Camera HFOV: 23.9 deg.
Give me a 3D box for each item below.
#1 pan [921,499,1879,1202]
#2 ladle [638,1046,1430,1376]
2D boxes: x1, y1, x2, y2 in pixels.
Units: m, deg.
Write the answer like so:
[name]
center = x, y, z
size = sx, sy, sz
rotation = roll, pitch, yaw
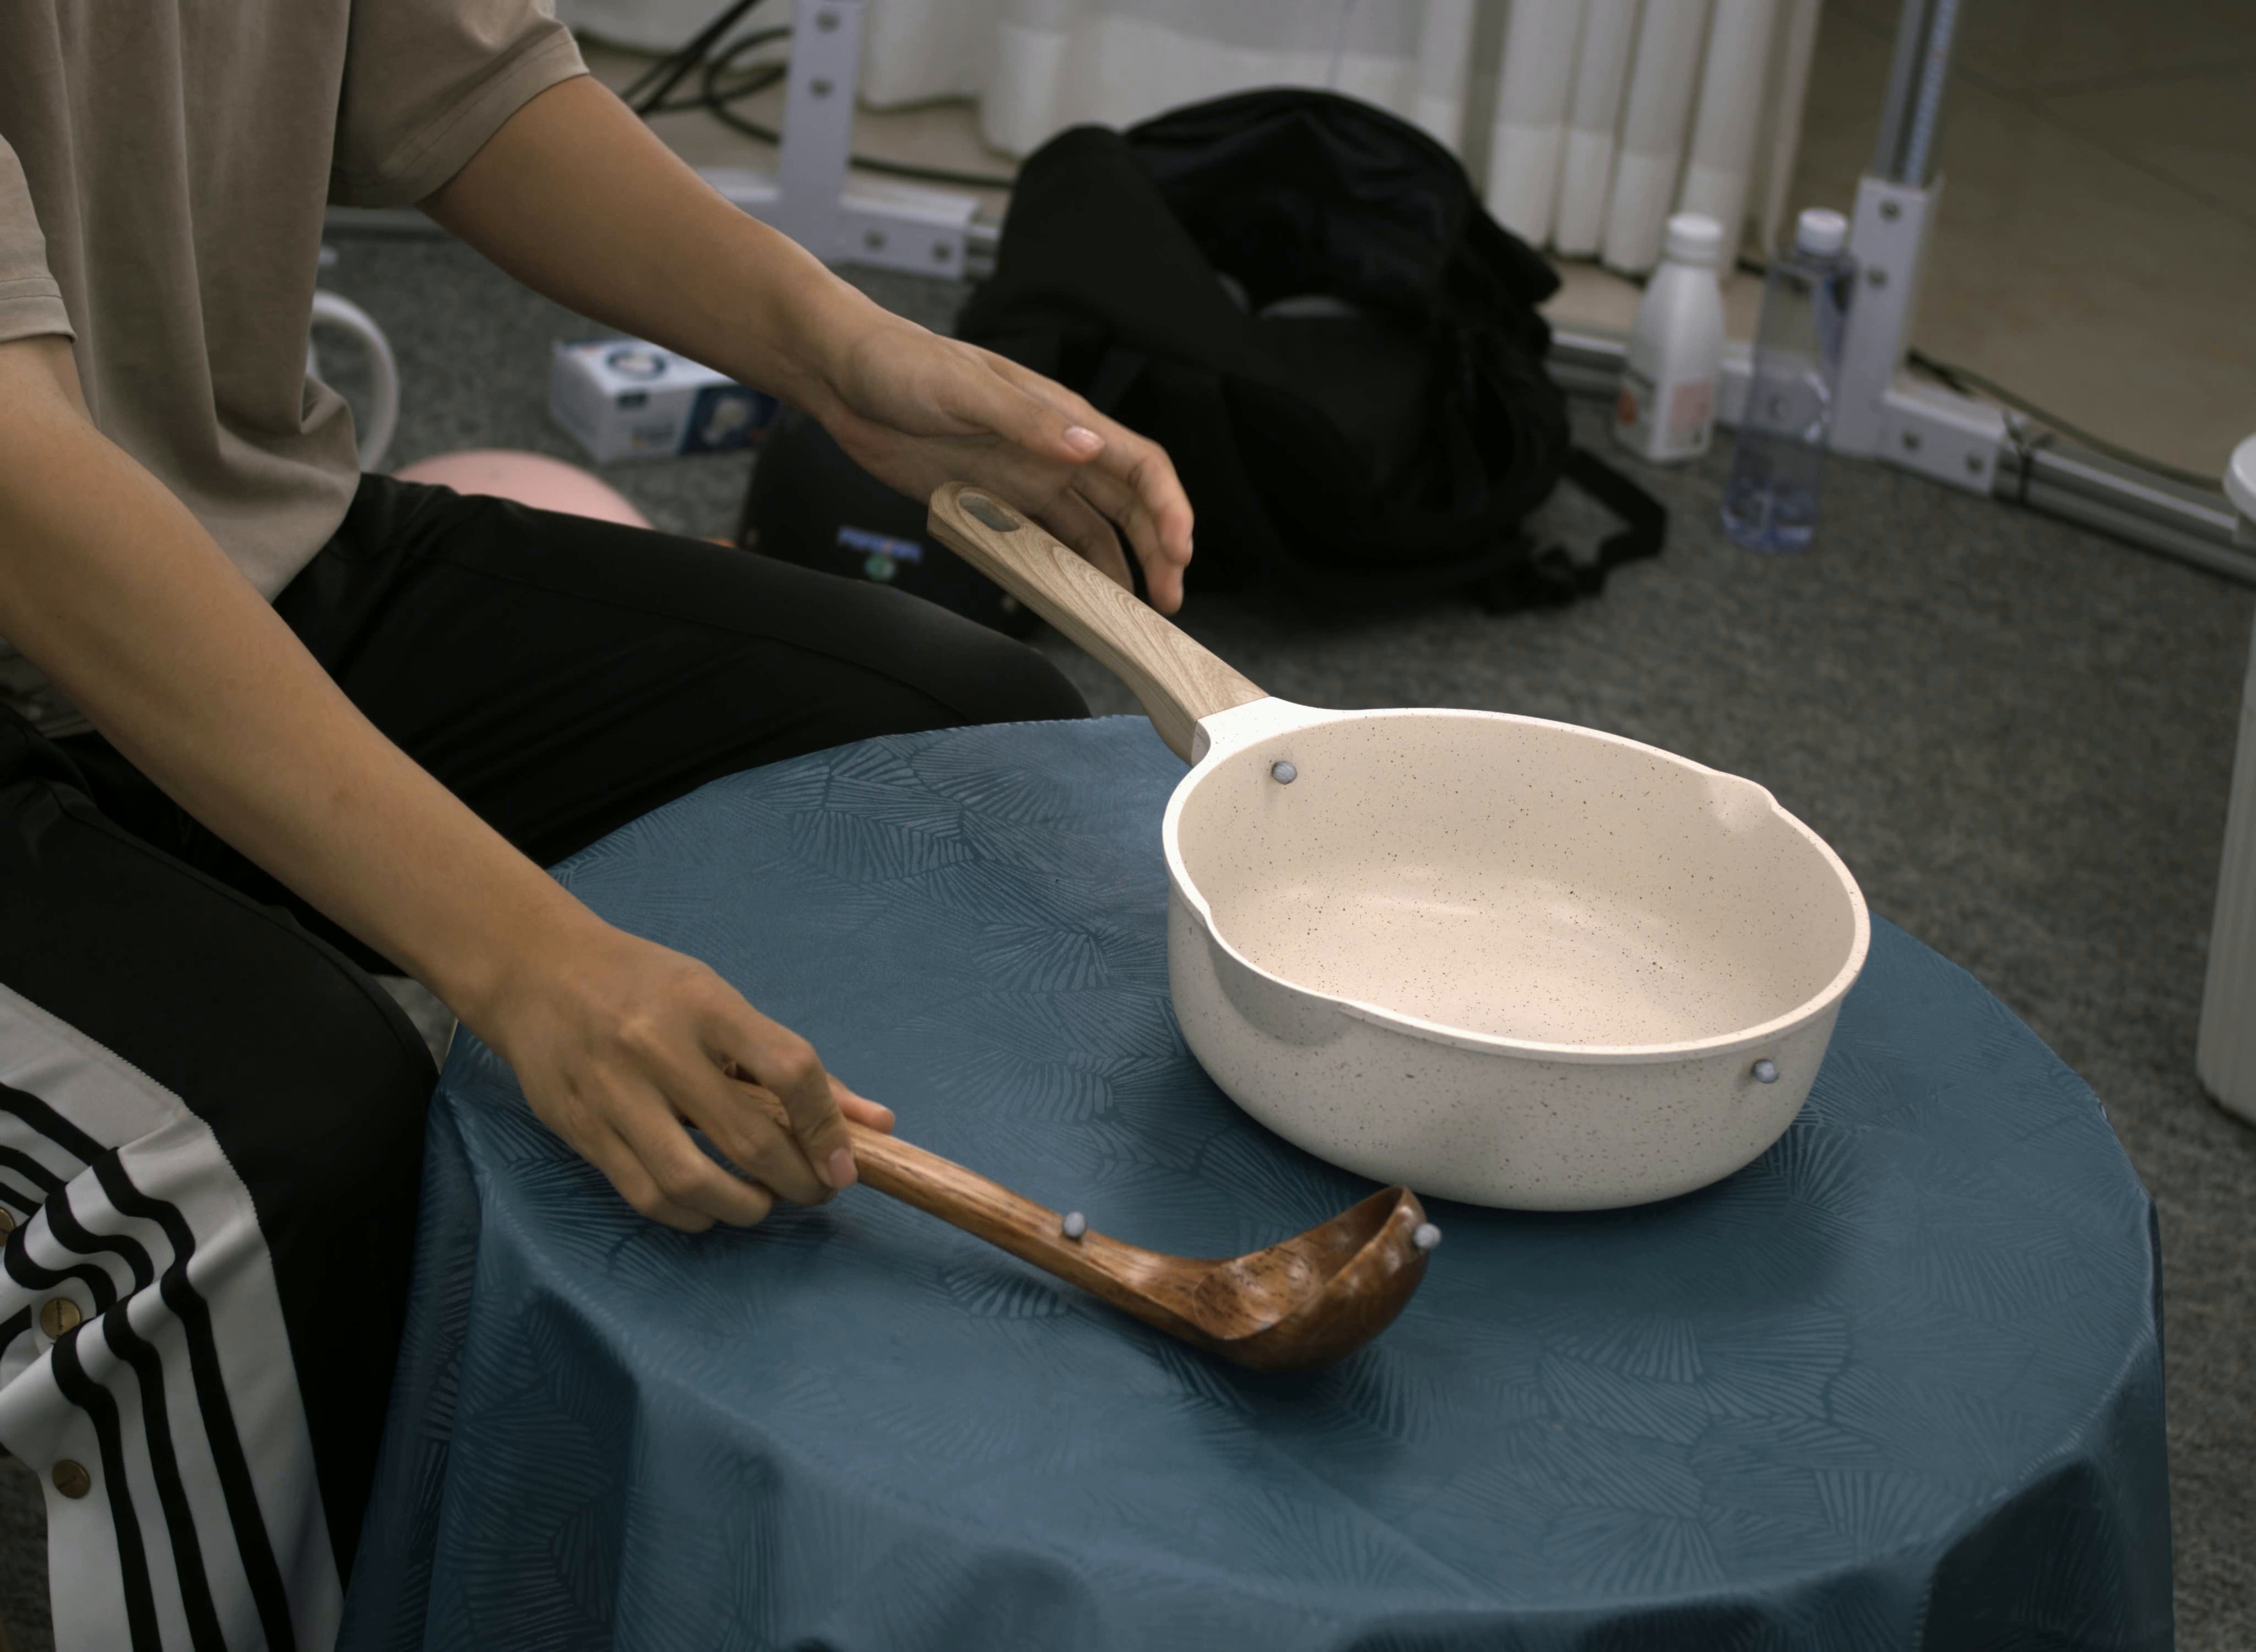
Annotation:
[pan]
center = 0.073, 0.005, 1.945
size = 0.262, 0.101, 0.438
rotation = -20, 37, -39
[ladle]
center = -0.033, 0.106, 1.727
size = 0.275, 0.076, 0.082
rotation = 23, 27, 15
